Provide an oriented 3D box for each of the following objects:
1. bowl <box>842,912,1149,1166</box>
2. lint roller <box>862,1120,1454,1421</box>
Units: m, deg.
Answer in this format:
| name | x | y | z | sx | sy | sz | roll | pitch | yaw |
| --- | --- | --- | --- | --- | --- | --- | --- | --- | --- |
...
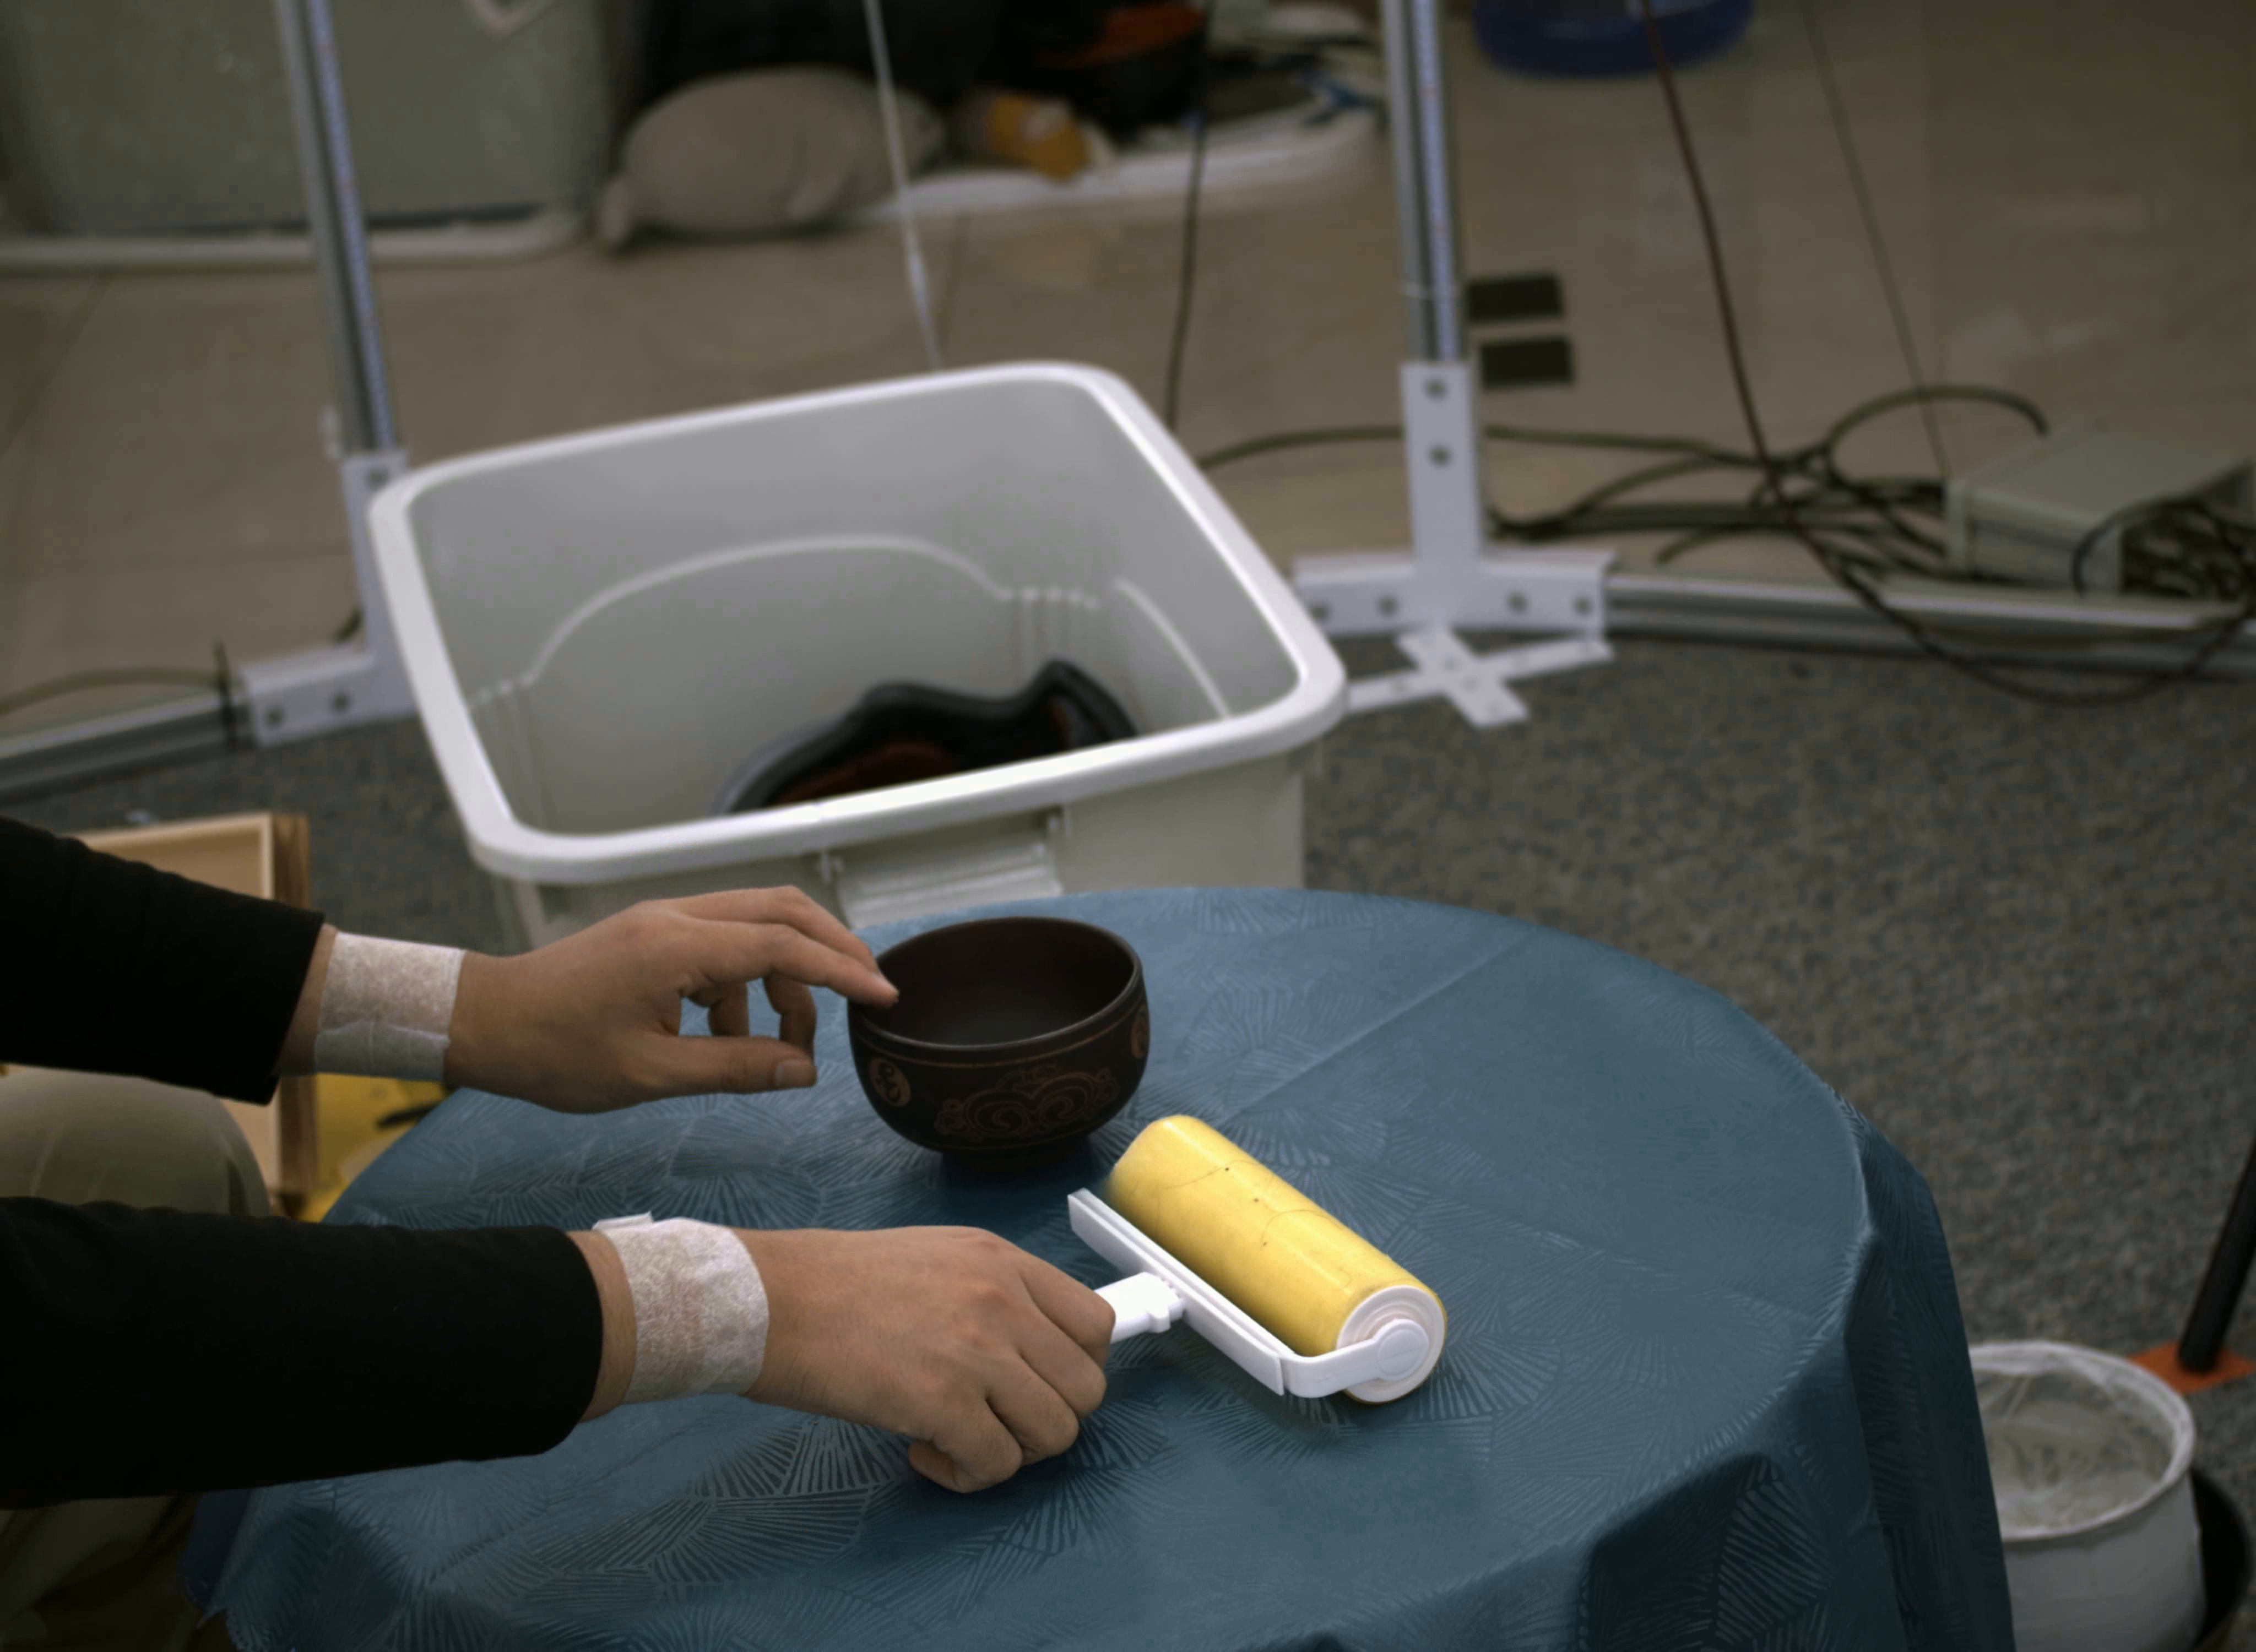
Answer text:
| name | x | y | z | sx | sy | sz | roll | pitch | yaw |
| --- | --- | --- | --- | --- | --- | --- | --- | --- | --- |
| bowl | -0.049 | 0.088 | 2.180 | 0.118 | 0.071 | 0.116 | -4 | 24 | 2 |
| lint roller | -0.008 | 0.168 | 2.010 | 0.191 | 0.052 | 0.172 | -9 | 23 | -29 |
